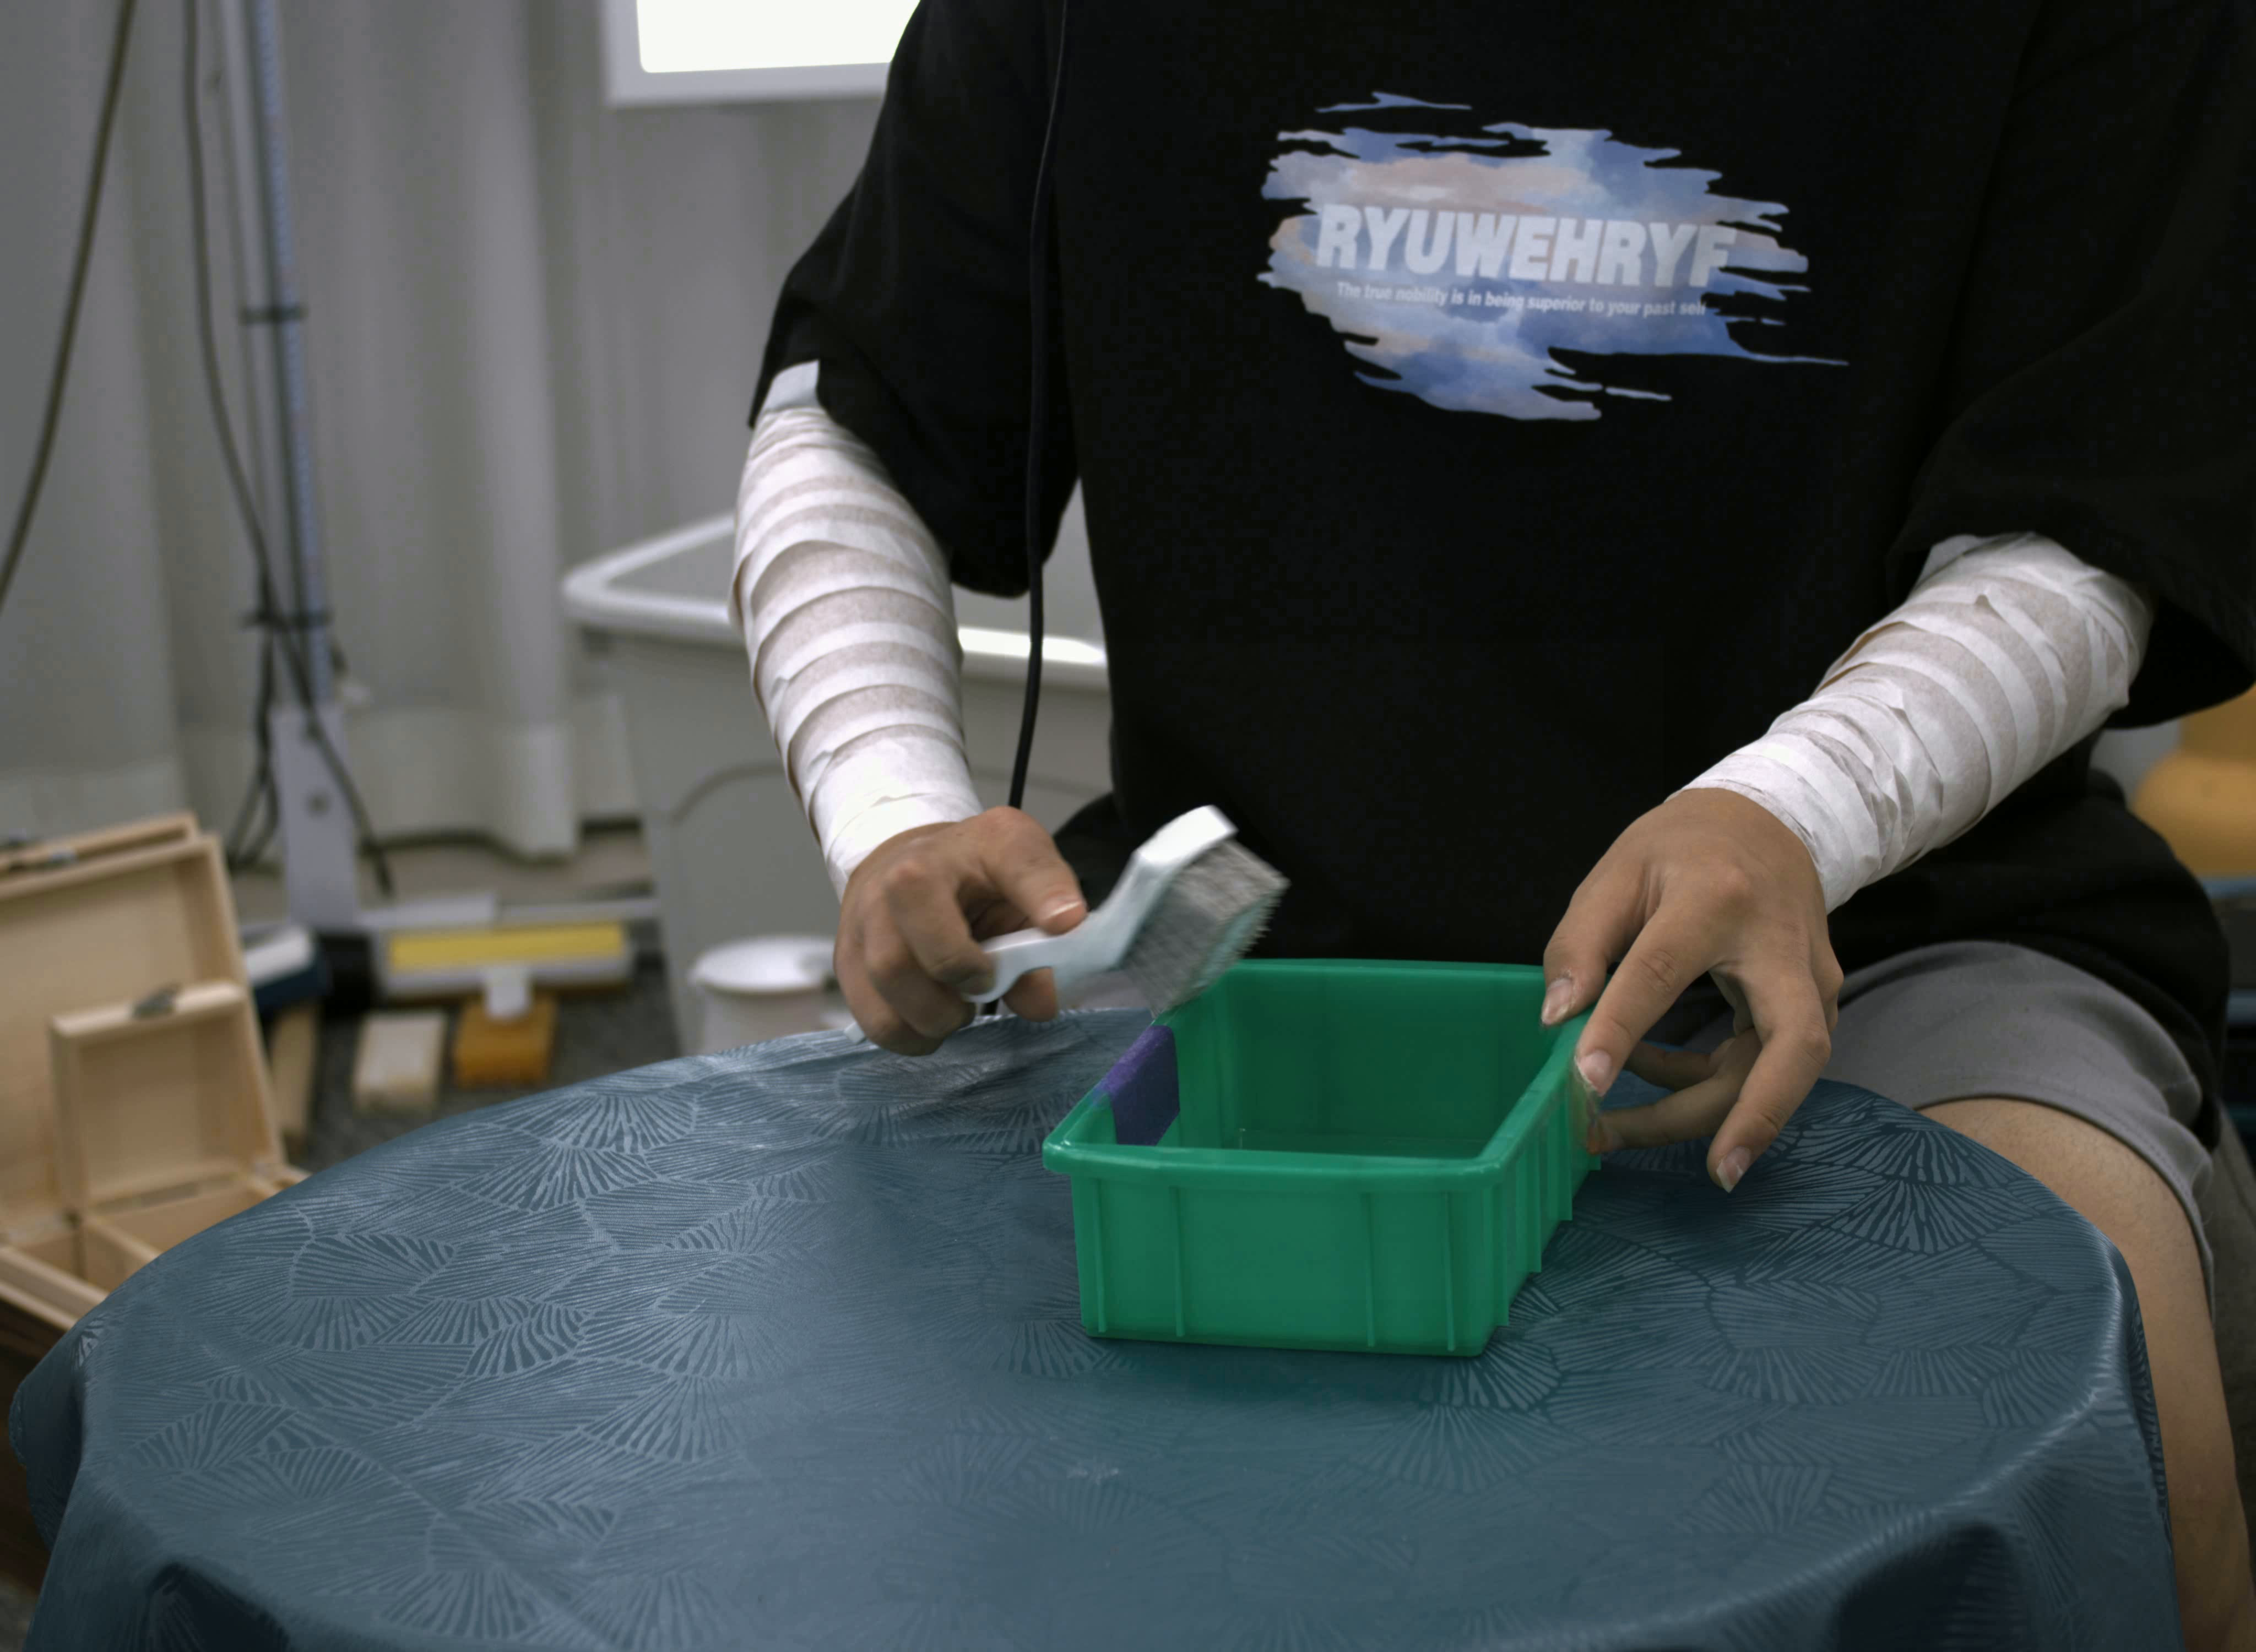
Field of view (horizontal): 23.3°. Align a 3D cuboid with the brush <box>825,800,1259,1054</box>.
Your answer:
[{"bbox_3d":[-0.029,0.050,1.756,0.034,0.050,0.242,-37,2,-34],"label":"brush"}]

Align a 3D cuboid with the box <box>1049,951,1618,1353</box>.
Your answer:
[{"bbox_3d":[0.067,0.097,1.640,0.138,0.065,0.211,-3,15,15],"label":"box"}]
